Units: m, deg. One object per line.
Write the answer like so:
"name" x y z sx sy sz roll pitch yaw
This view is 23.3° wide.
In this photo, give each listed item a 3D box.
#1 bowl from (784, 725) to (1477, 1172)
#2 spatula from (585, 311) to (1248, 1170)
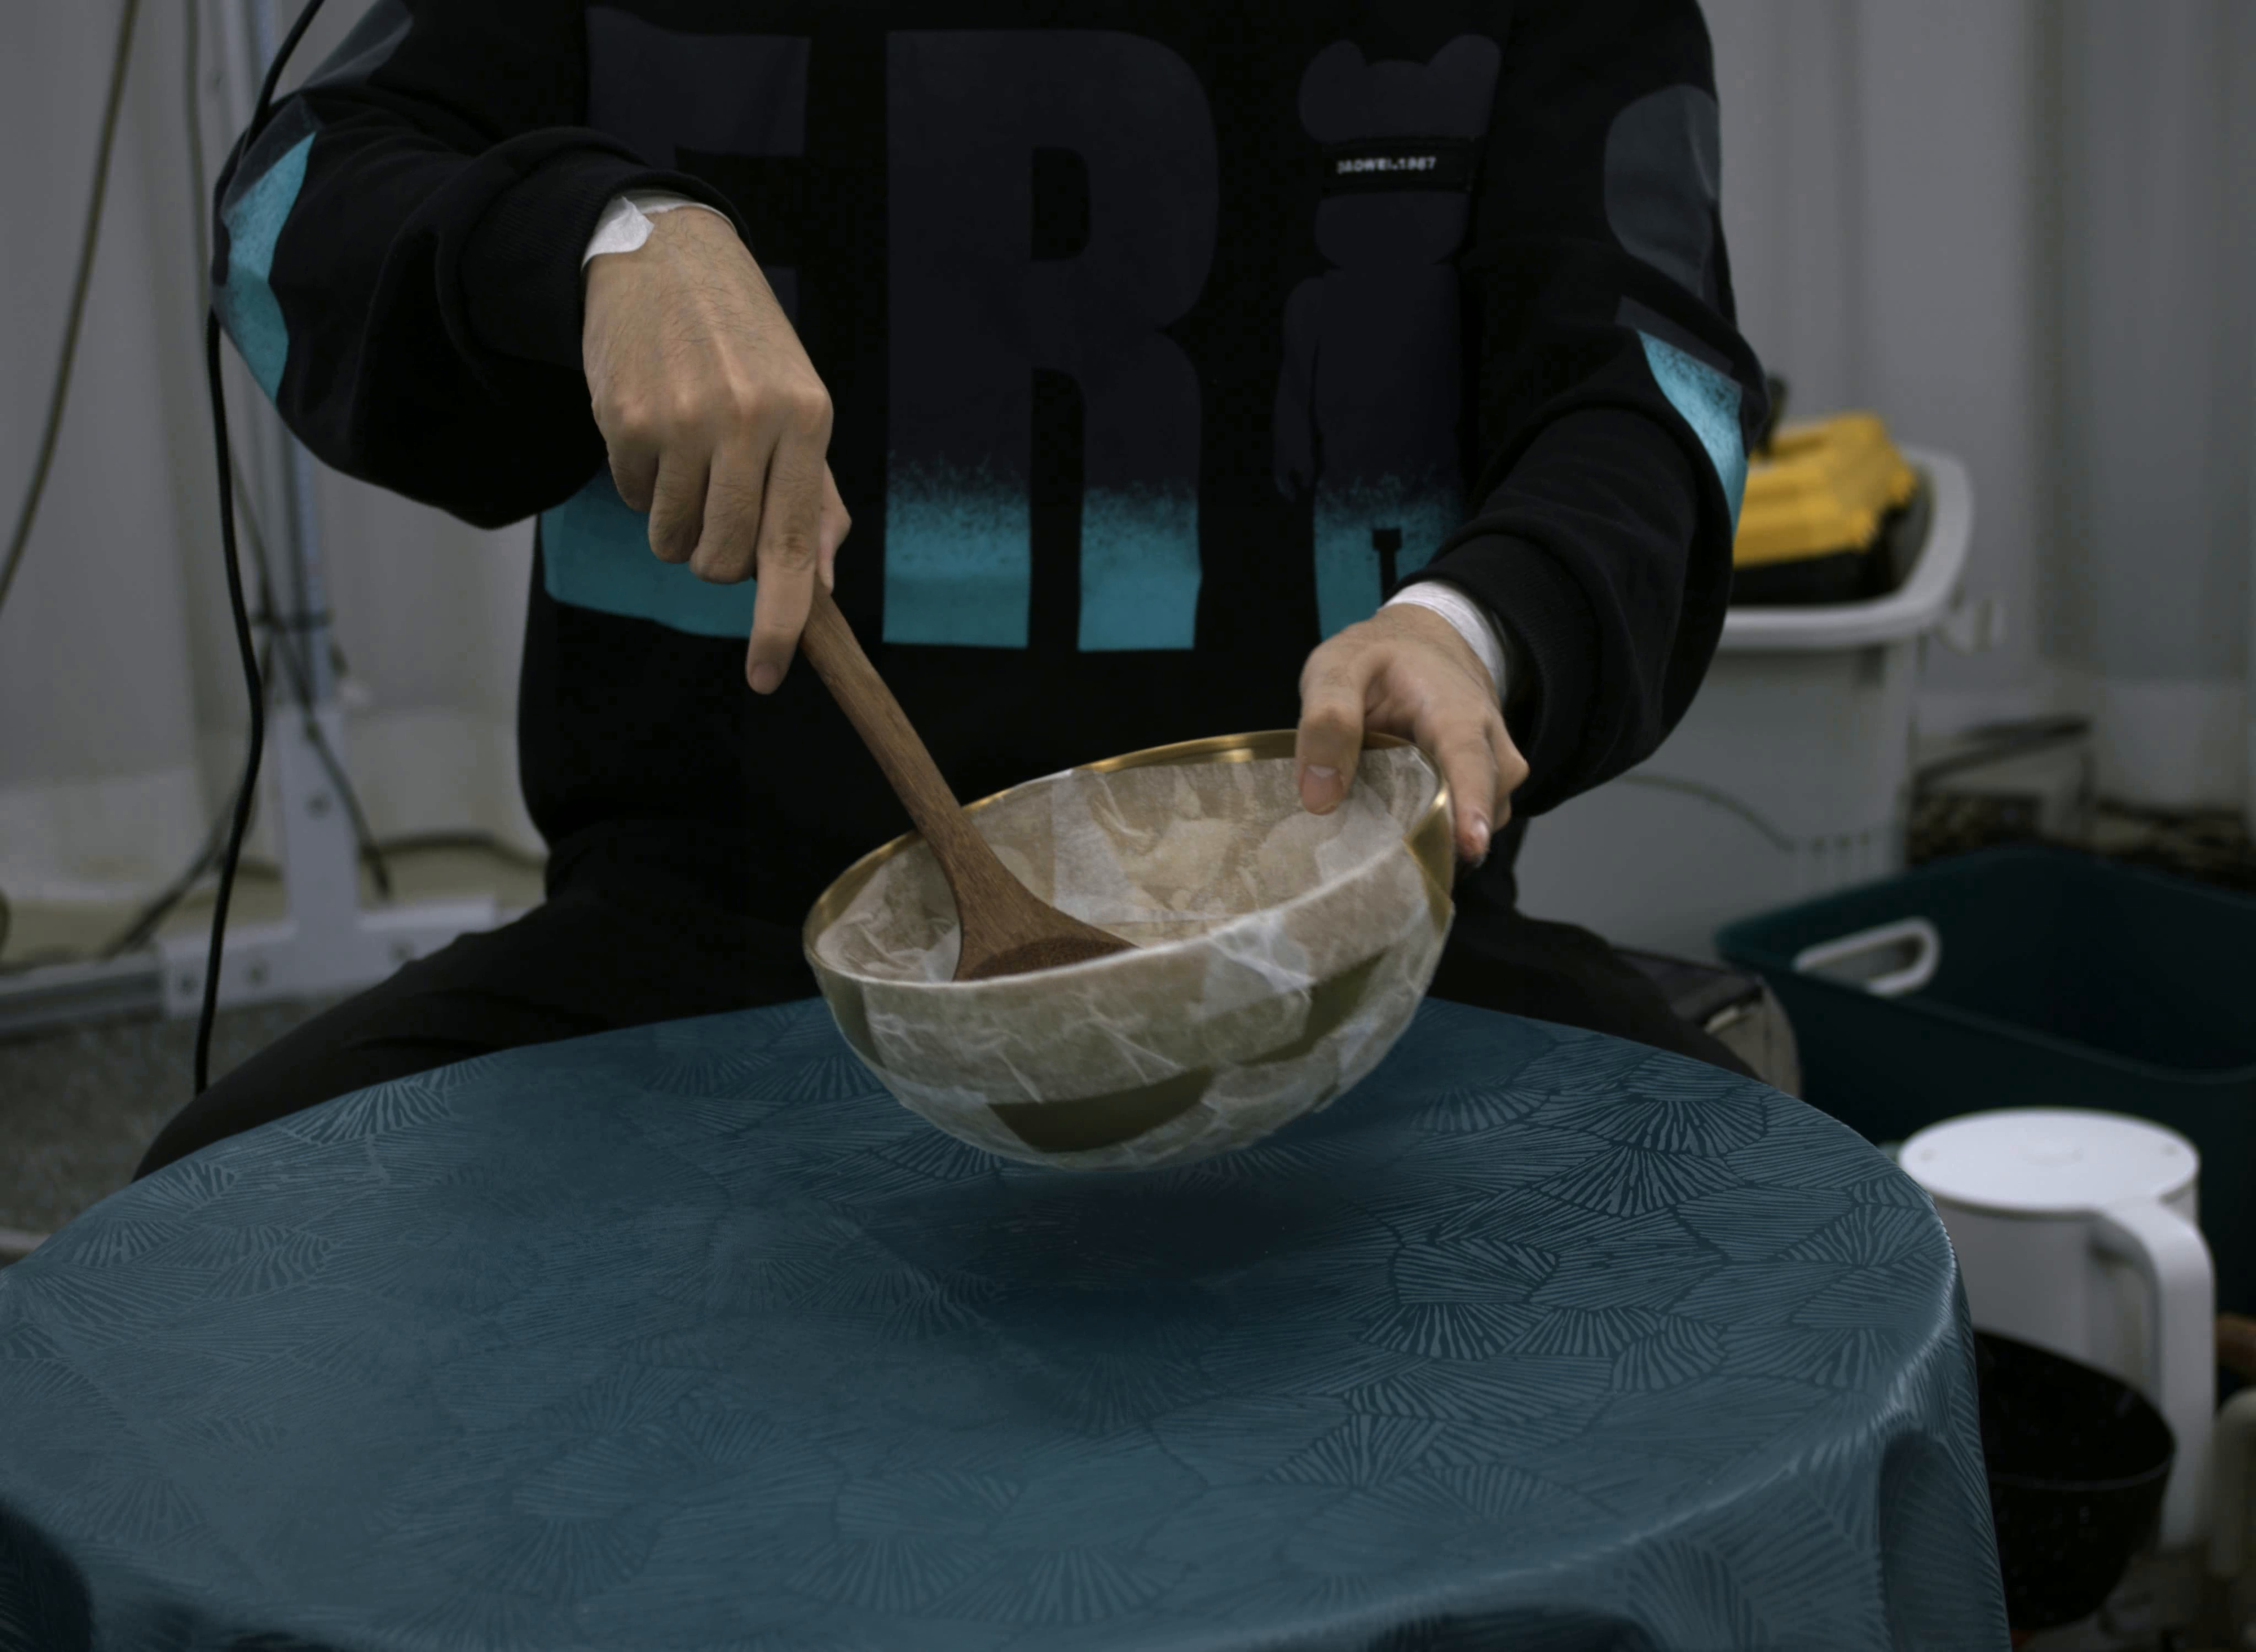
"bowl" 0.010 0.046 1.646 0.214 0.094 0.216 -15 15 4
"spatula" -0.080 -0.037 1.727 0.096 0.015 0.391 -13 53 -31
